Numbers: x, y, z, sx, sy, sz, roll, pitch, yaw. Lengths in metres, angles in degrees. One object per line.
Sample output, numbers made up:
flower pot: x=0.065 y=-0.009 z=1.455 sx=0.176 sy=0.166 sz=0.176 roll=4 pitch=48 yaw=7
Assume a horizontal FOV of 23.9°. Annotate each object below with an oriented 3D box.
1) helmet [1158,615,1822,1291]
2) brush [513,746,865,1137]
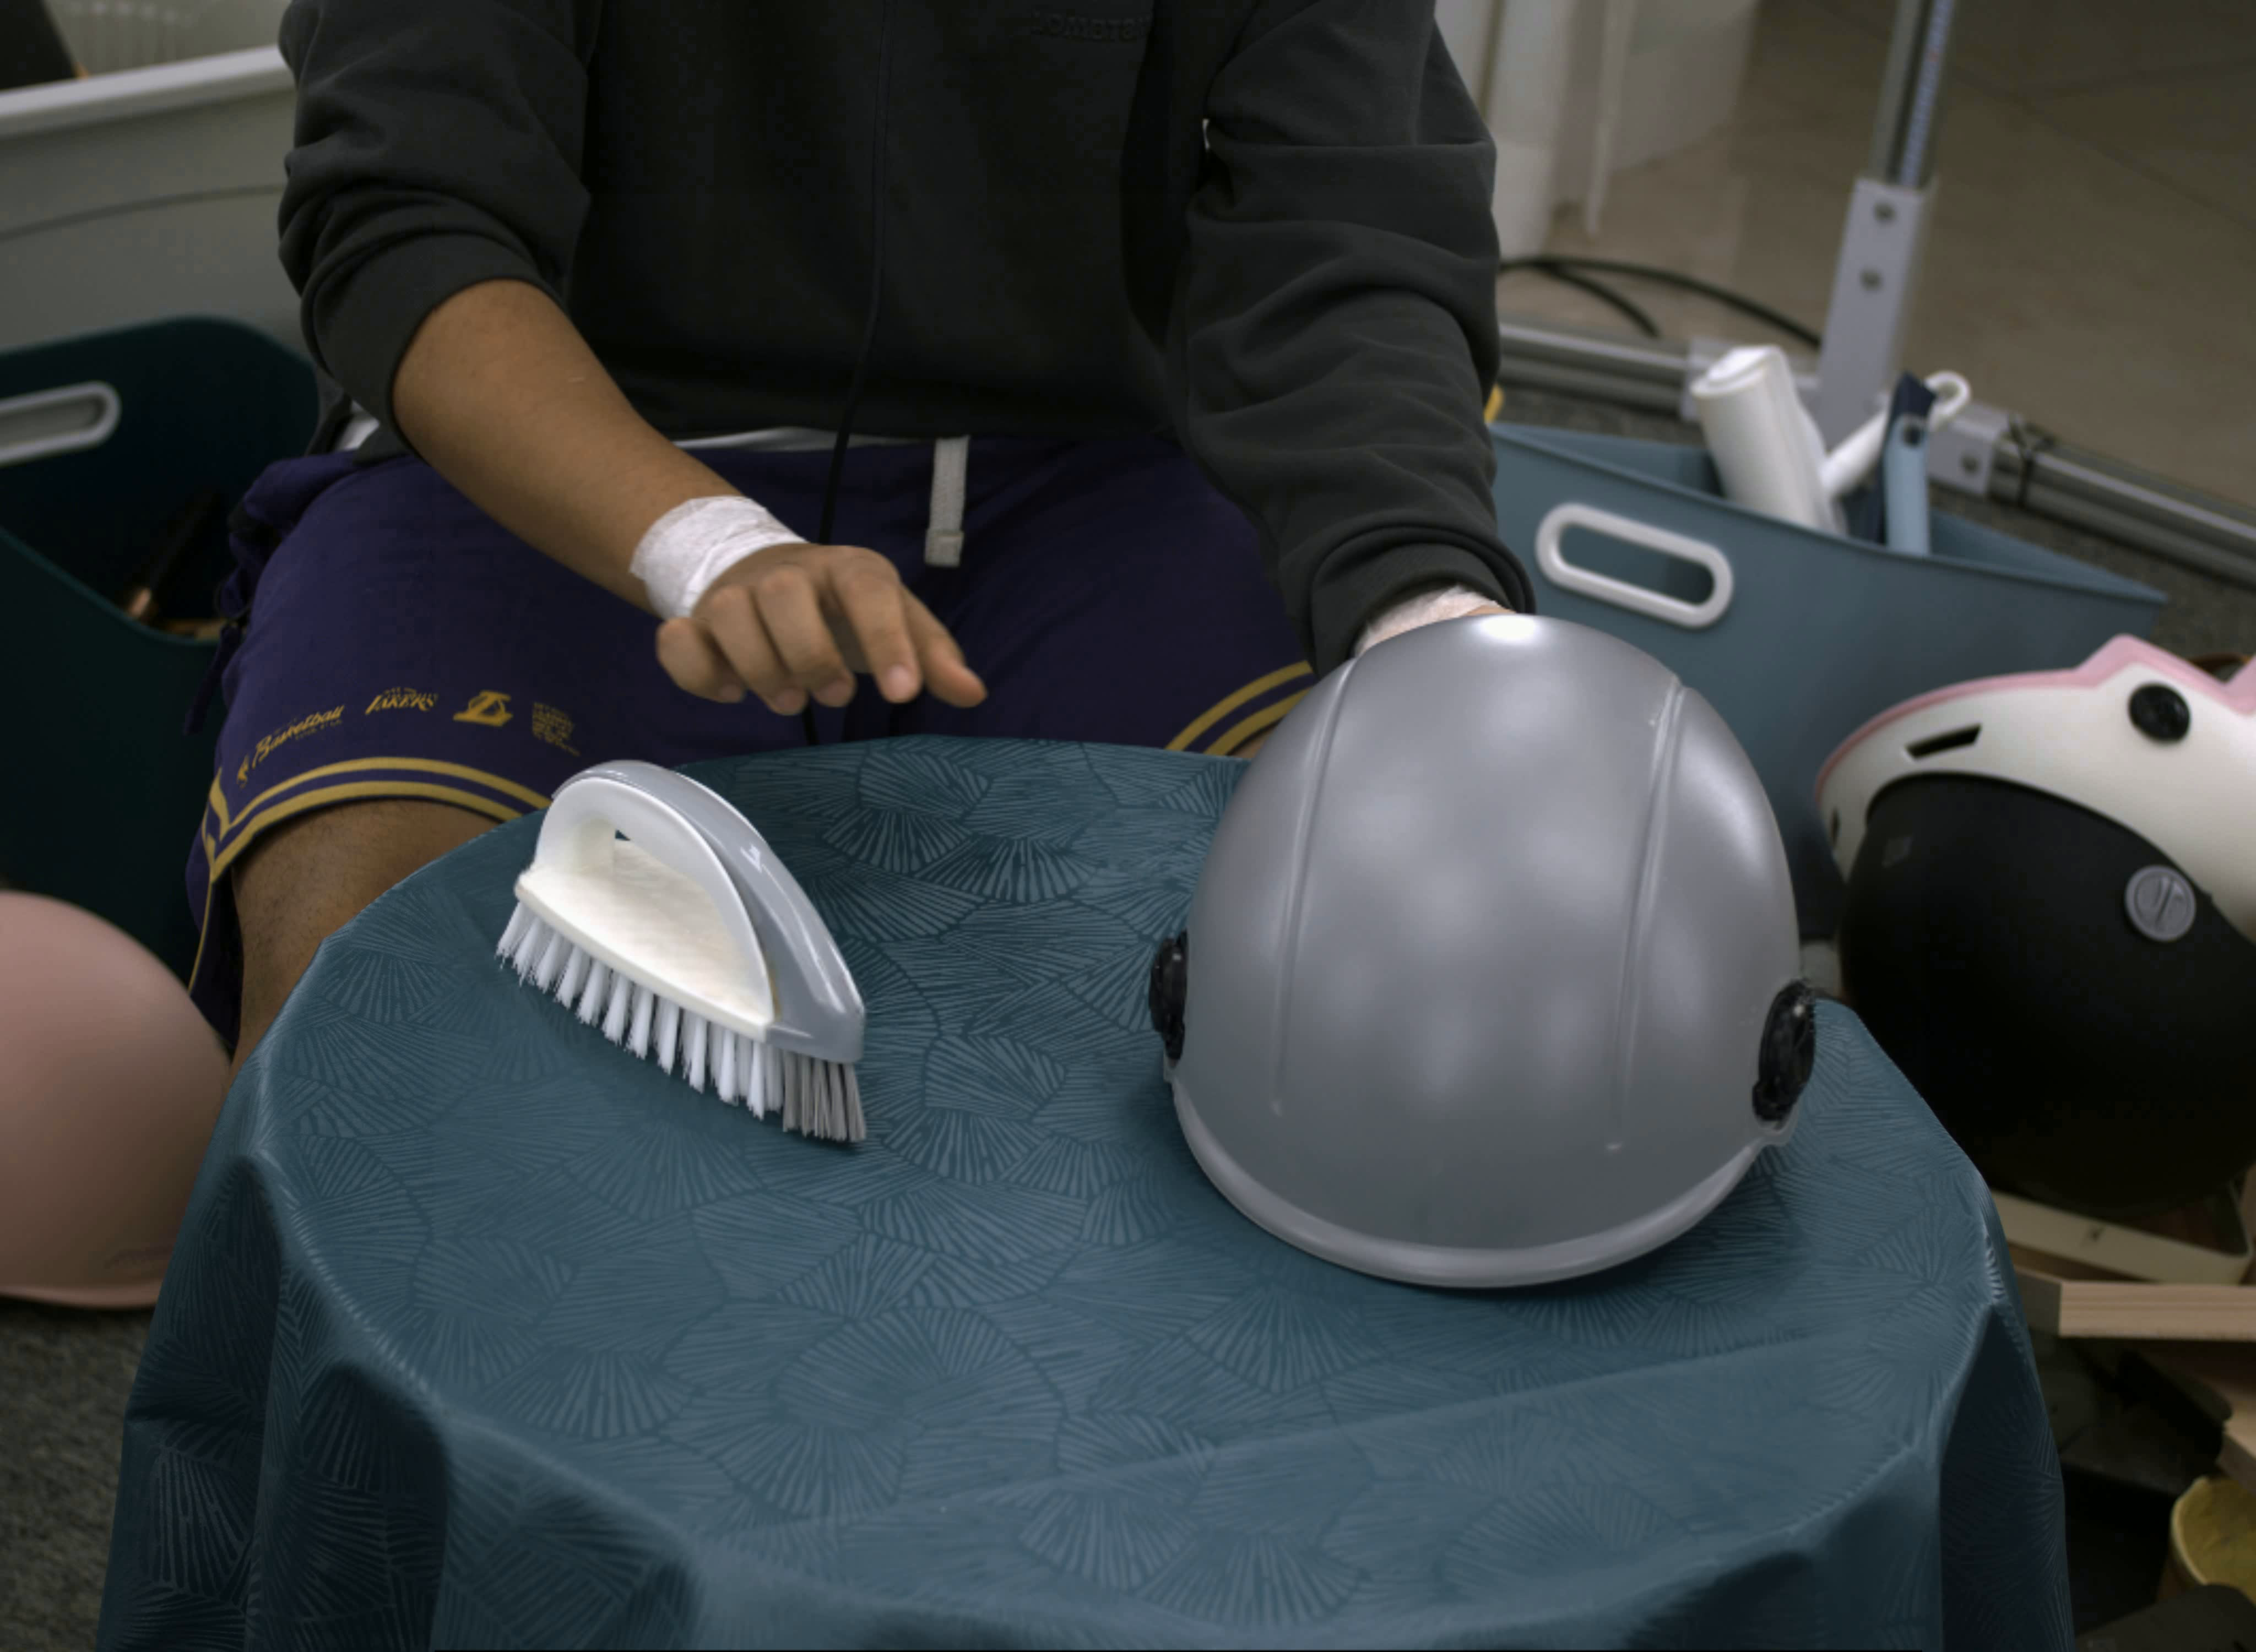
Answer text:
helmet: x=0.128 y=0.023 z=1.846 sx=0.232 sy=0.168 sz=0.277 roll=4 pitch=28 yaw=12
brush: x=-0.144 y=0.034 z=1.846 sx=0.061 sy=0.094 sz=0.177 roll=-18 pitch=38 yaw=-37
